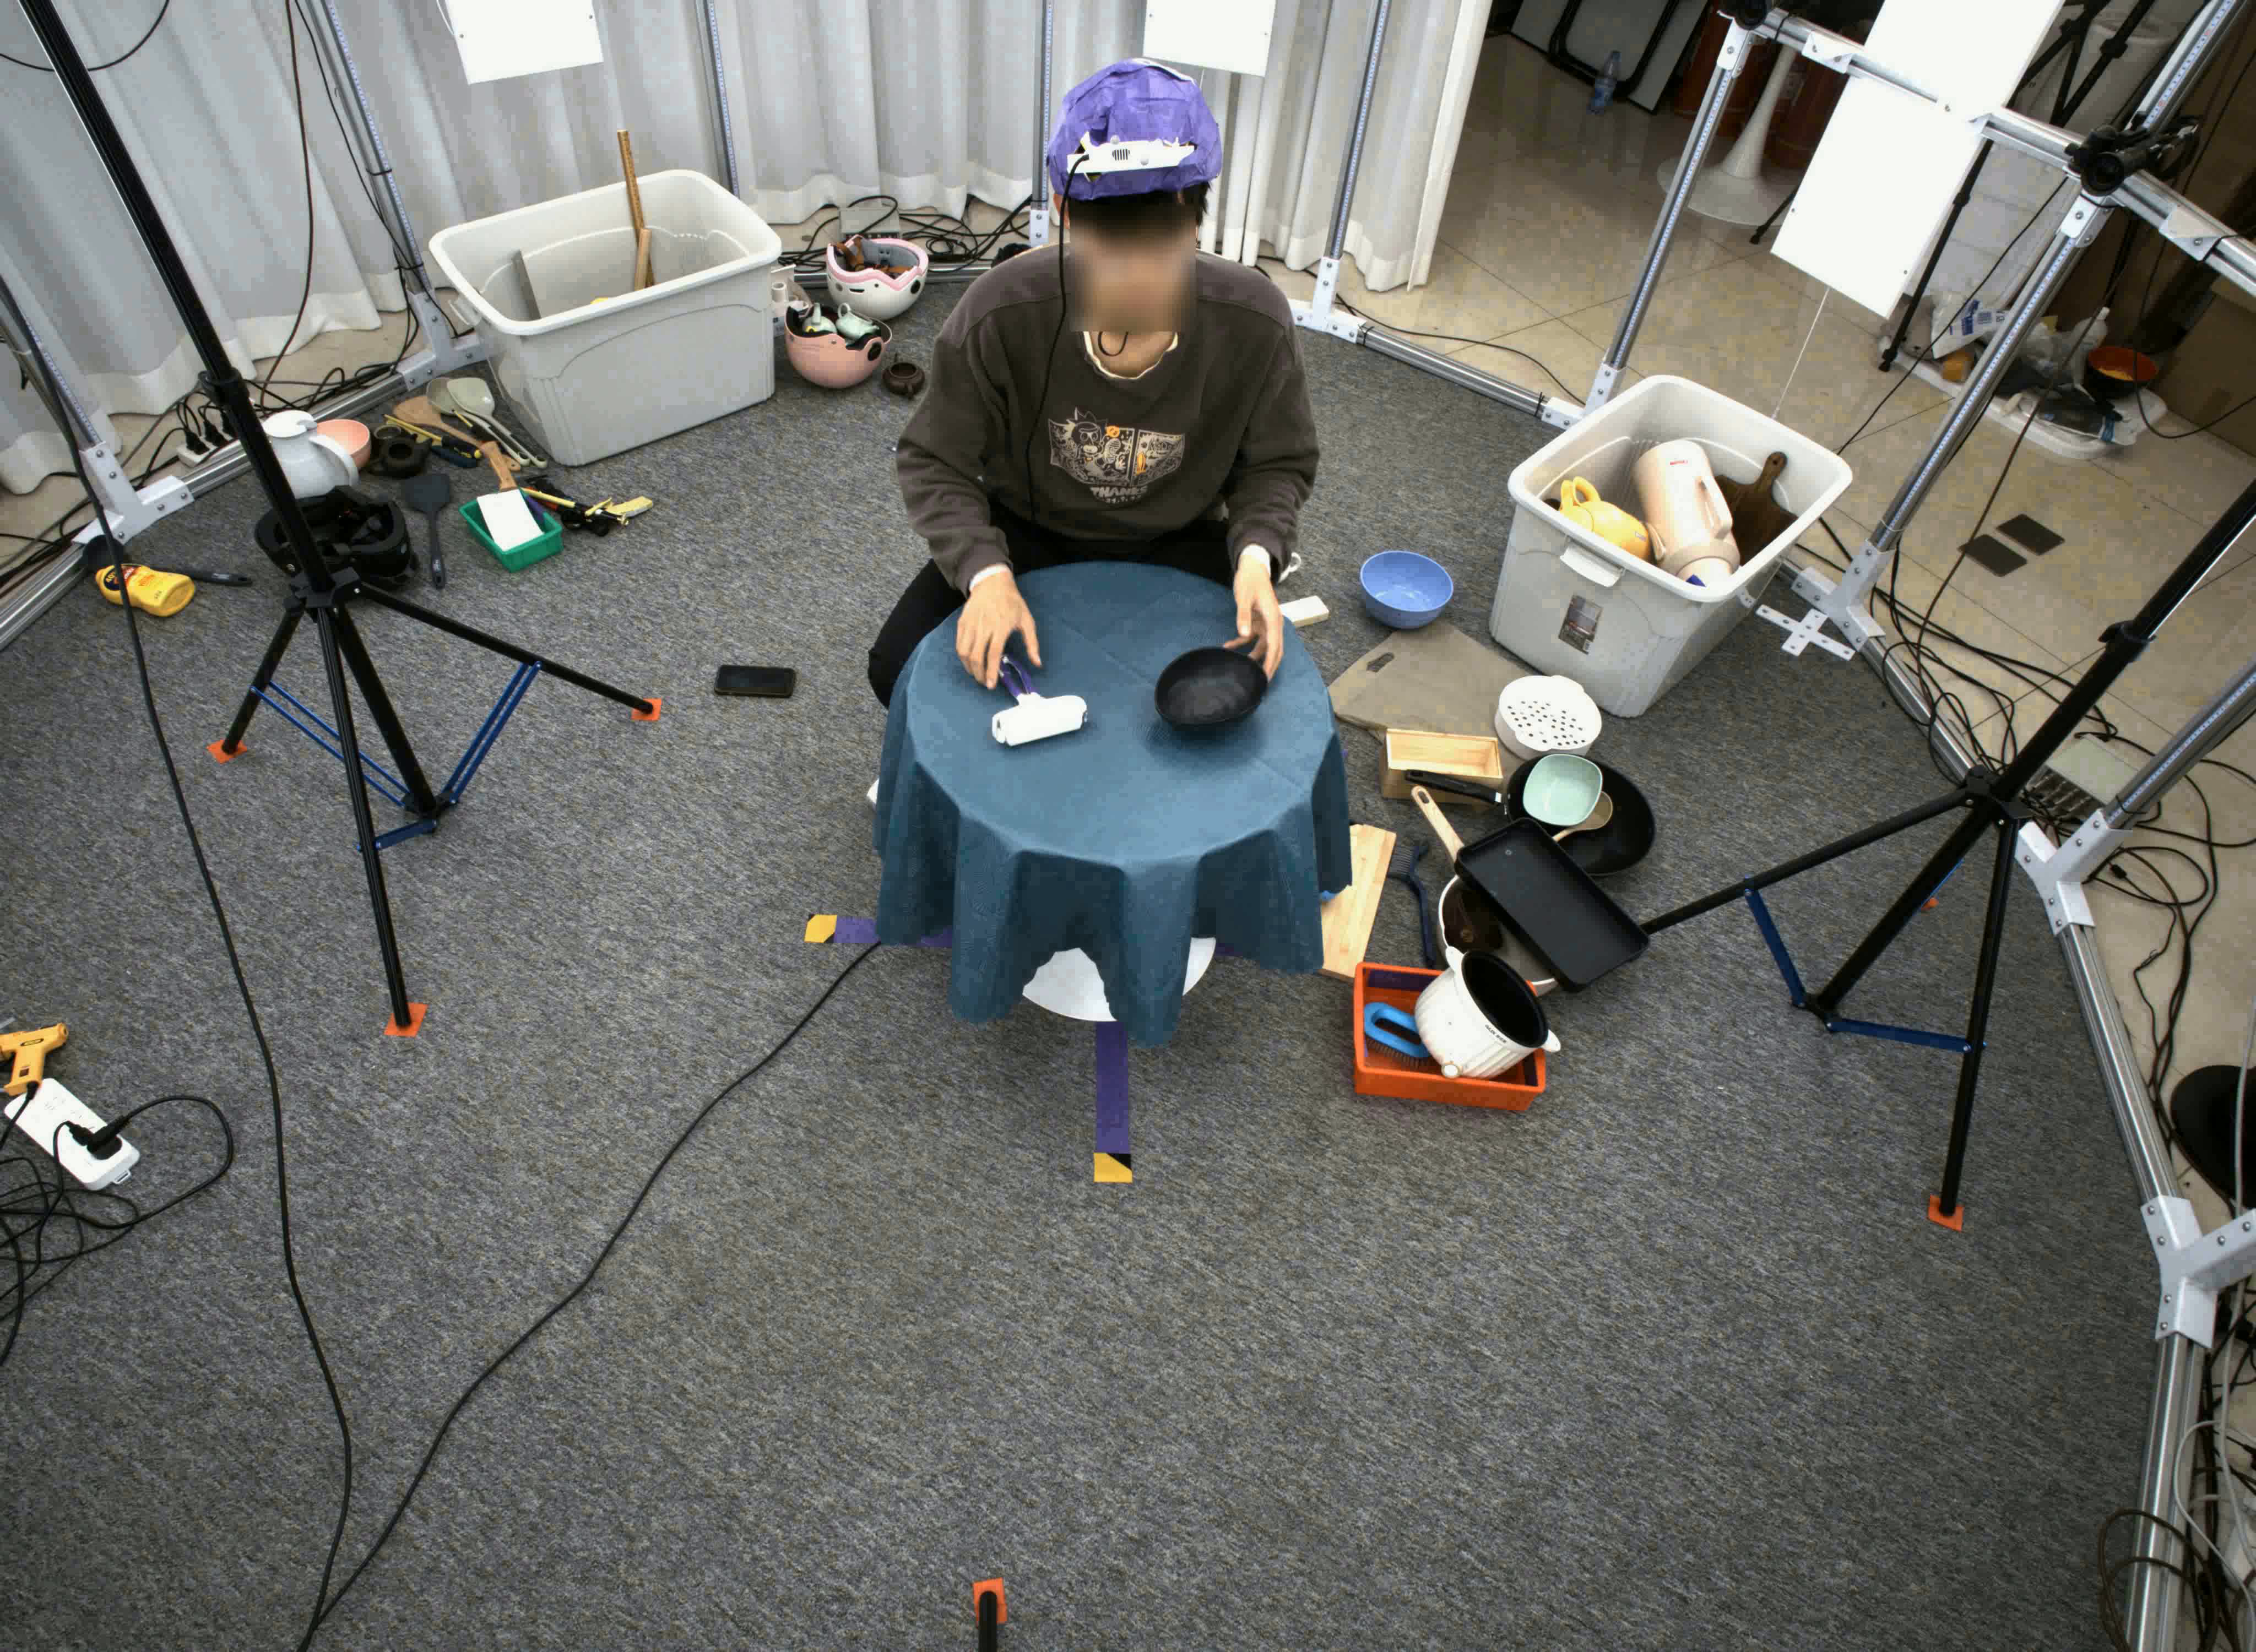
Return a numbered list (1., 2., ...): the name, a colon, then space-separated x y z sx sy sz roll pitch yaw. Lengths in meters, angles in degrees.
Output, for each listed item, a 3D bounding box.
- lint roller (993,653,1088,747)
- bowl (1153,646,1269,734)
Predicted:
1. lint roller: -0.141 -0.192 1.793 0.133 0.049 0.185 -14 54 -15
2. bowl: 0.115 -0.176 1.785 0.171 0.065 0.140 -29 55 -24
